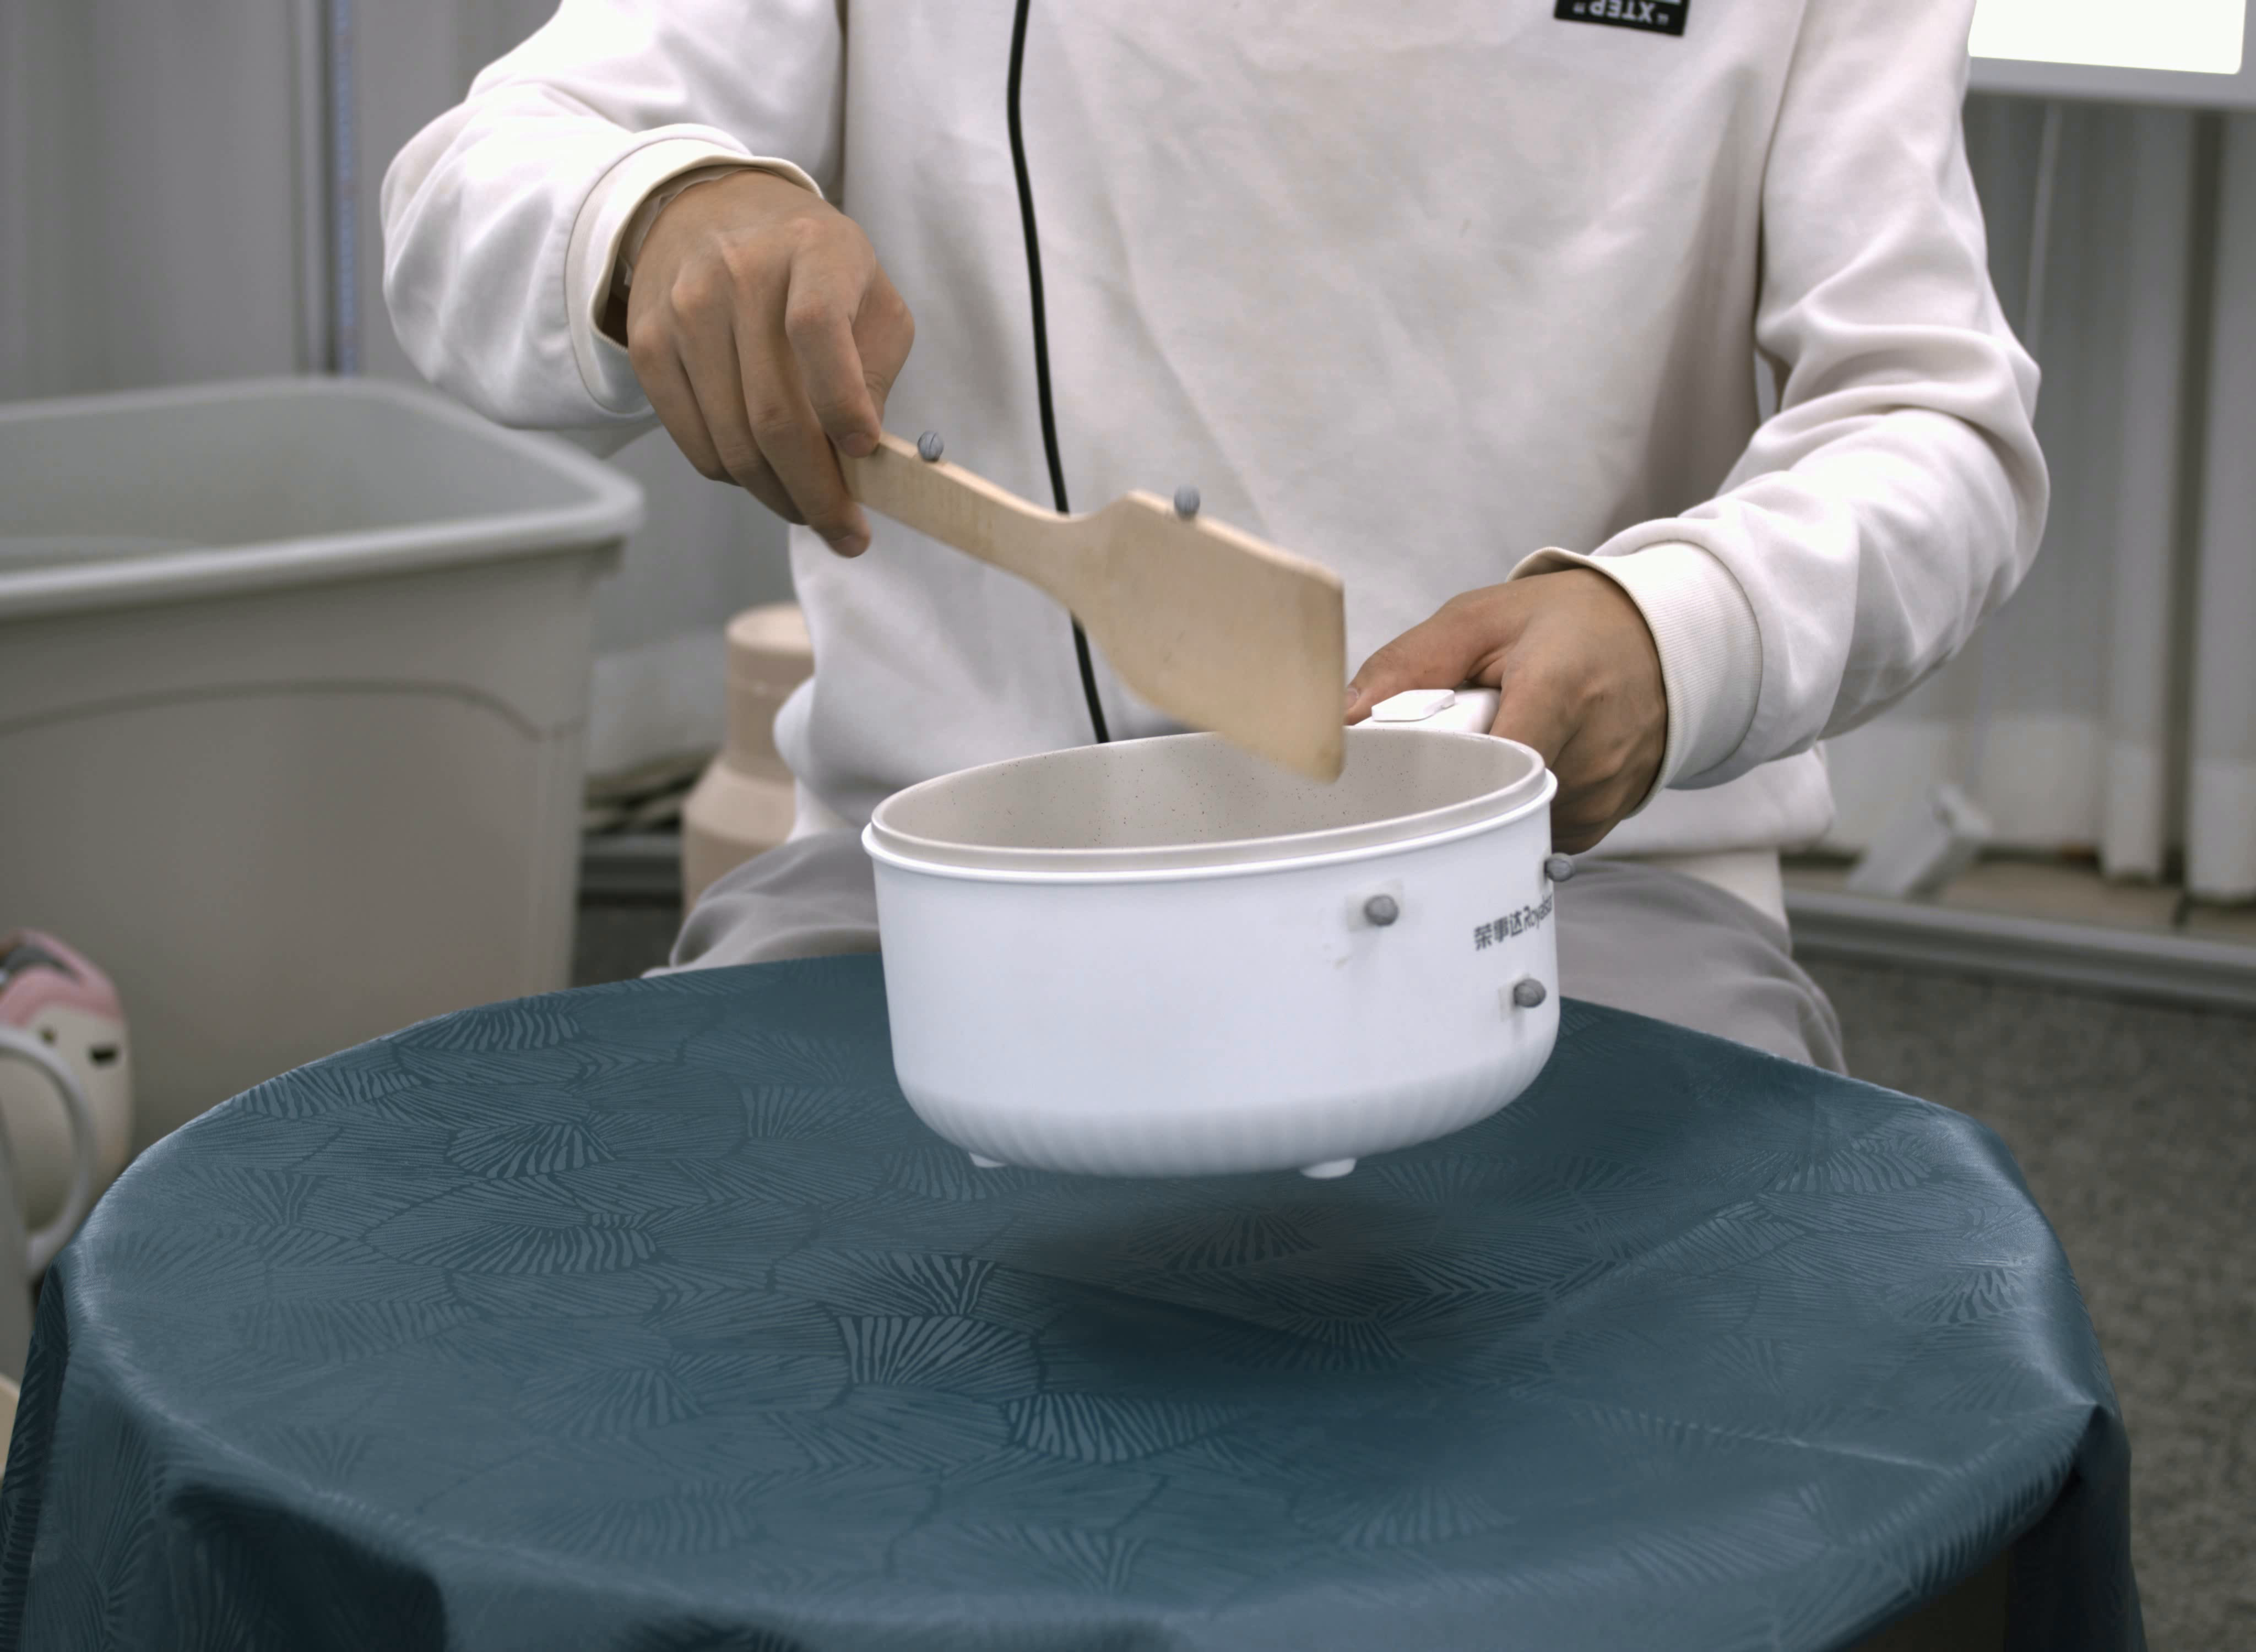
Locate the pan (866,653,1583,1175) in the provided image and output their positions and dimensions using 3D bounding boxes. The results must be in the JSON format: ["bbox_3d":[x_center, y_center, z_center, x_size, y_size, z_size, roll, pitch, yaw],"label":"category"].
[{"bbox_3d":[0.059,0.022,1.594,0.199,0.103,0.356,0,11,25],"label":"pan"}]

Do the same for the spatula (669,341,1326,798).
[{"bbox_3d":[-0.047,-0.092,1.615,0.011,0.073,0.289,-28,42,-37],"label":"spatula"}]
